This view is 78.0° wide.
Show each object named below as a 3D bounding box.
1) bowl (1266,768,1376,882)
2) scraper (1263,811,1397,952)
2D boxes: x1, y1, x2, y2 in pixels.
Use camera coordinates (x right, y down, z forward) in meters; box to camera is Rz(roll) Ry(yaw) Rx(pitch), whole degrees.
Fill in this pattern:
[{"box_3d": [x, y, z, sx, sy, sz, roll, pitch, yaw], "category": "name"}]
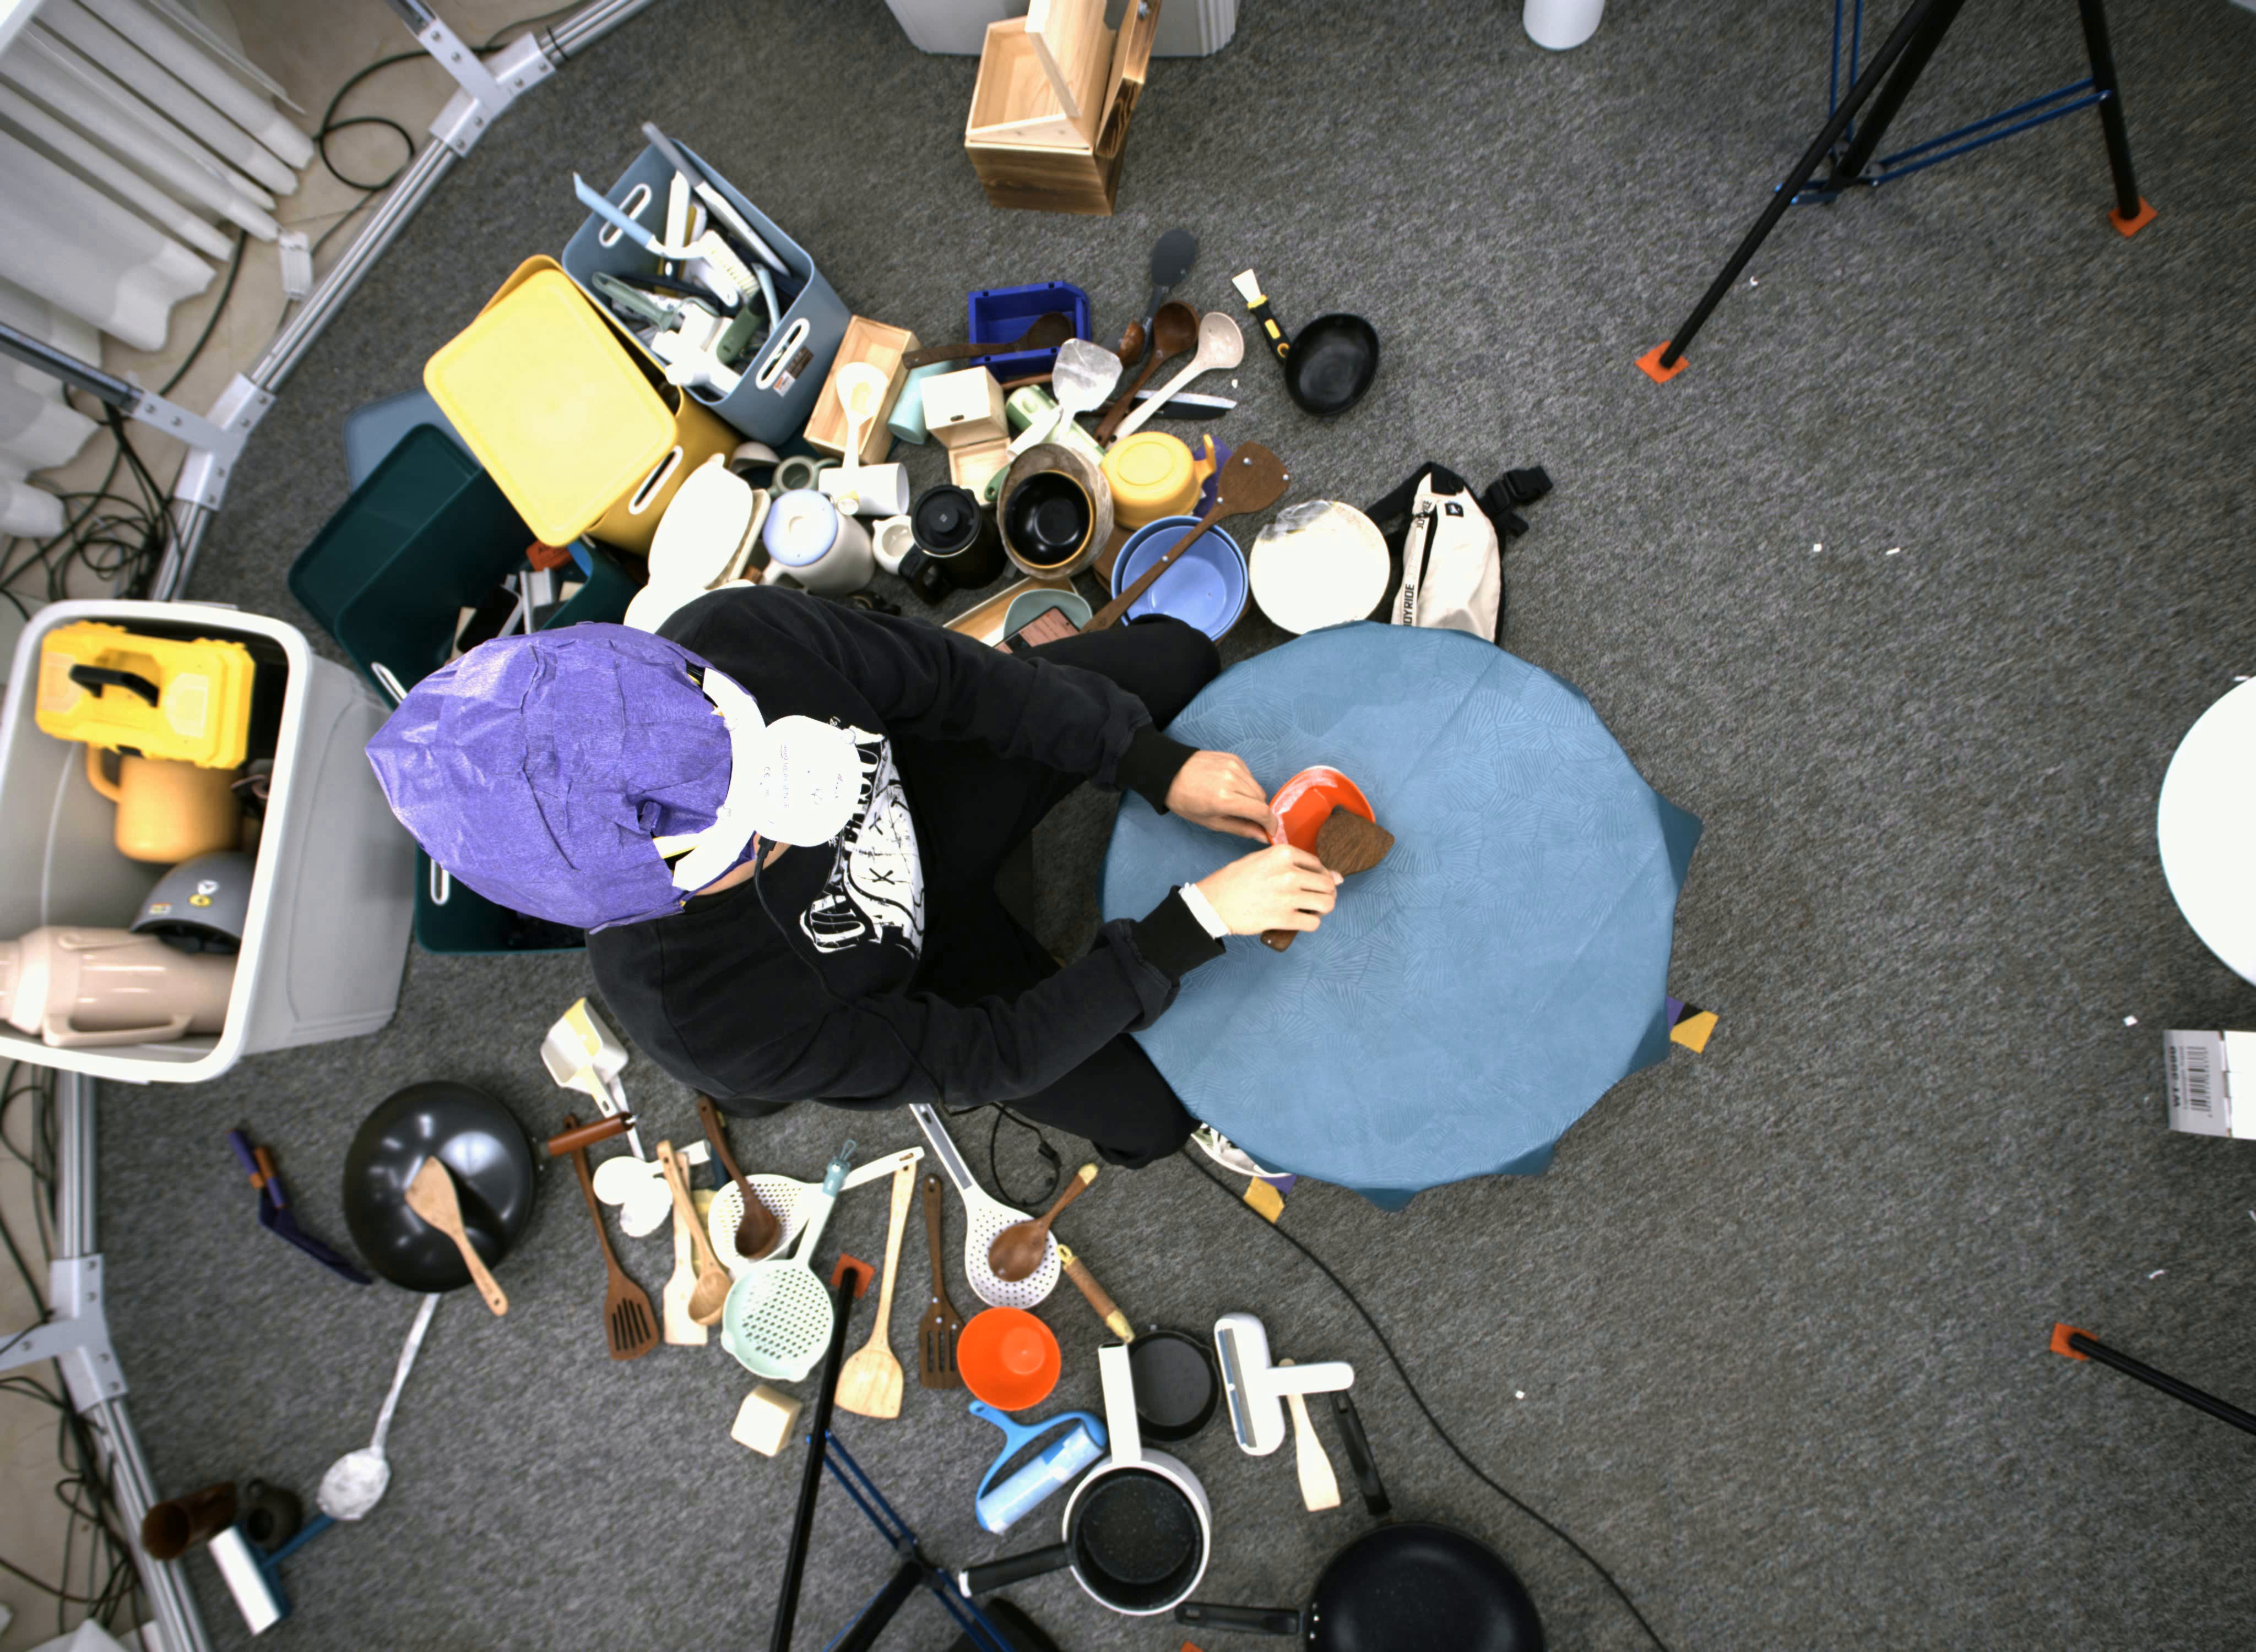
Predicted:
[{"box_3d": [0.195, 0.000, 1.447, 0.119, 0.051, 0.119, 0, 92, -11], "category": "bowl"}, {"box_3d": [0.193, 0.056, 1.374, 0.075, 0.011, 0.206, 29, 50, 19], "category": "scraper"}]
